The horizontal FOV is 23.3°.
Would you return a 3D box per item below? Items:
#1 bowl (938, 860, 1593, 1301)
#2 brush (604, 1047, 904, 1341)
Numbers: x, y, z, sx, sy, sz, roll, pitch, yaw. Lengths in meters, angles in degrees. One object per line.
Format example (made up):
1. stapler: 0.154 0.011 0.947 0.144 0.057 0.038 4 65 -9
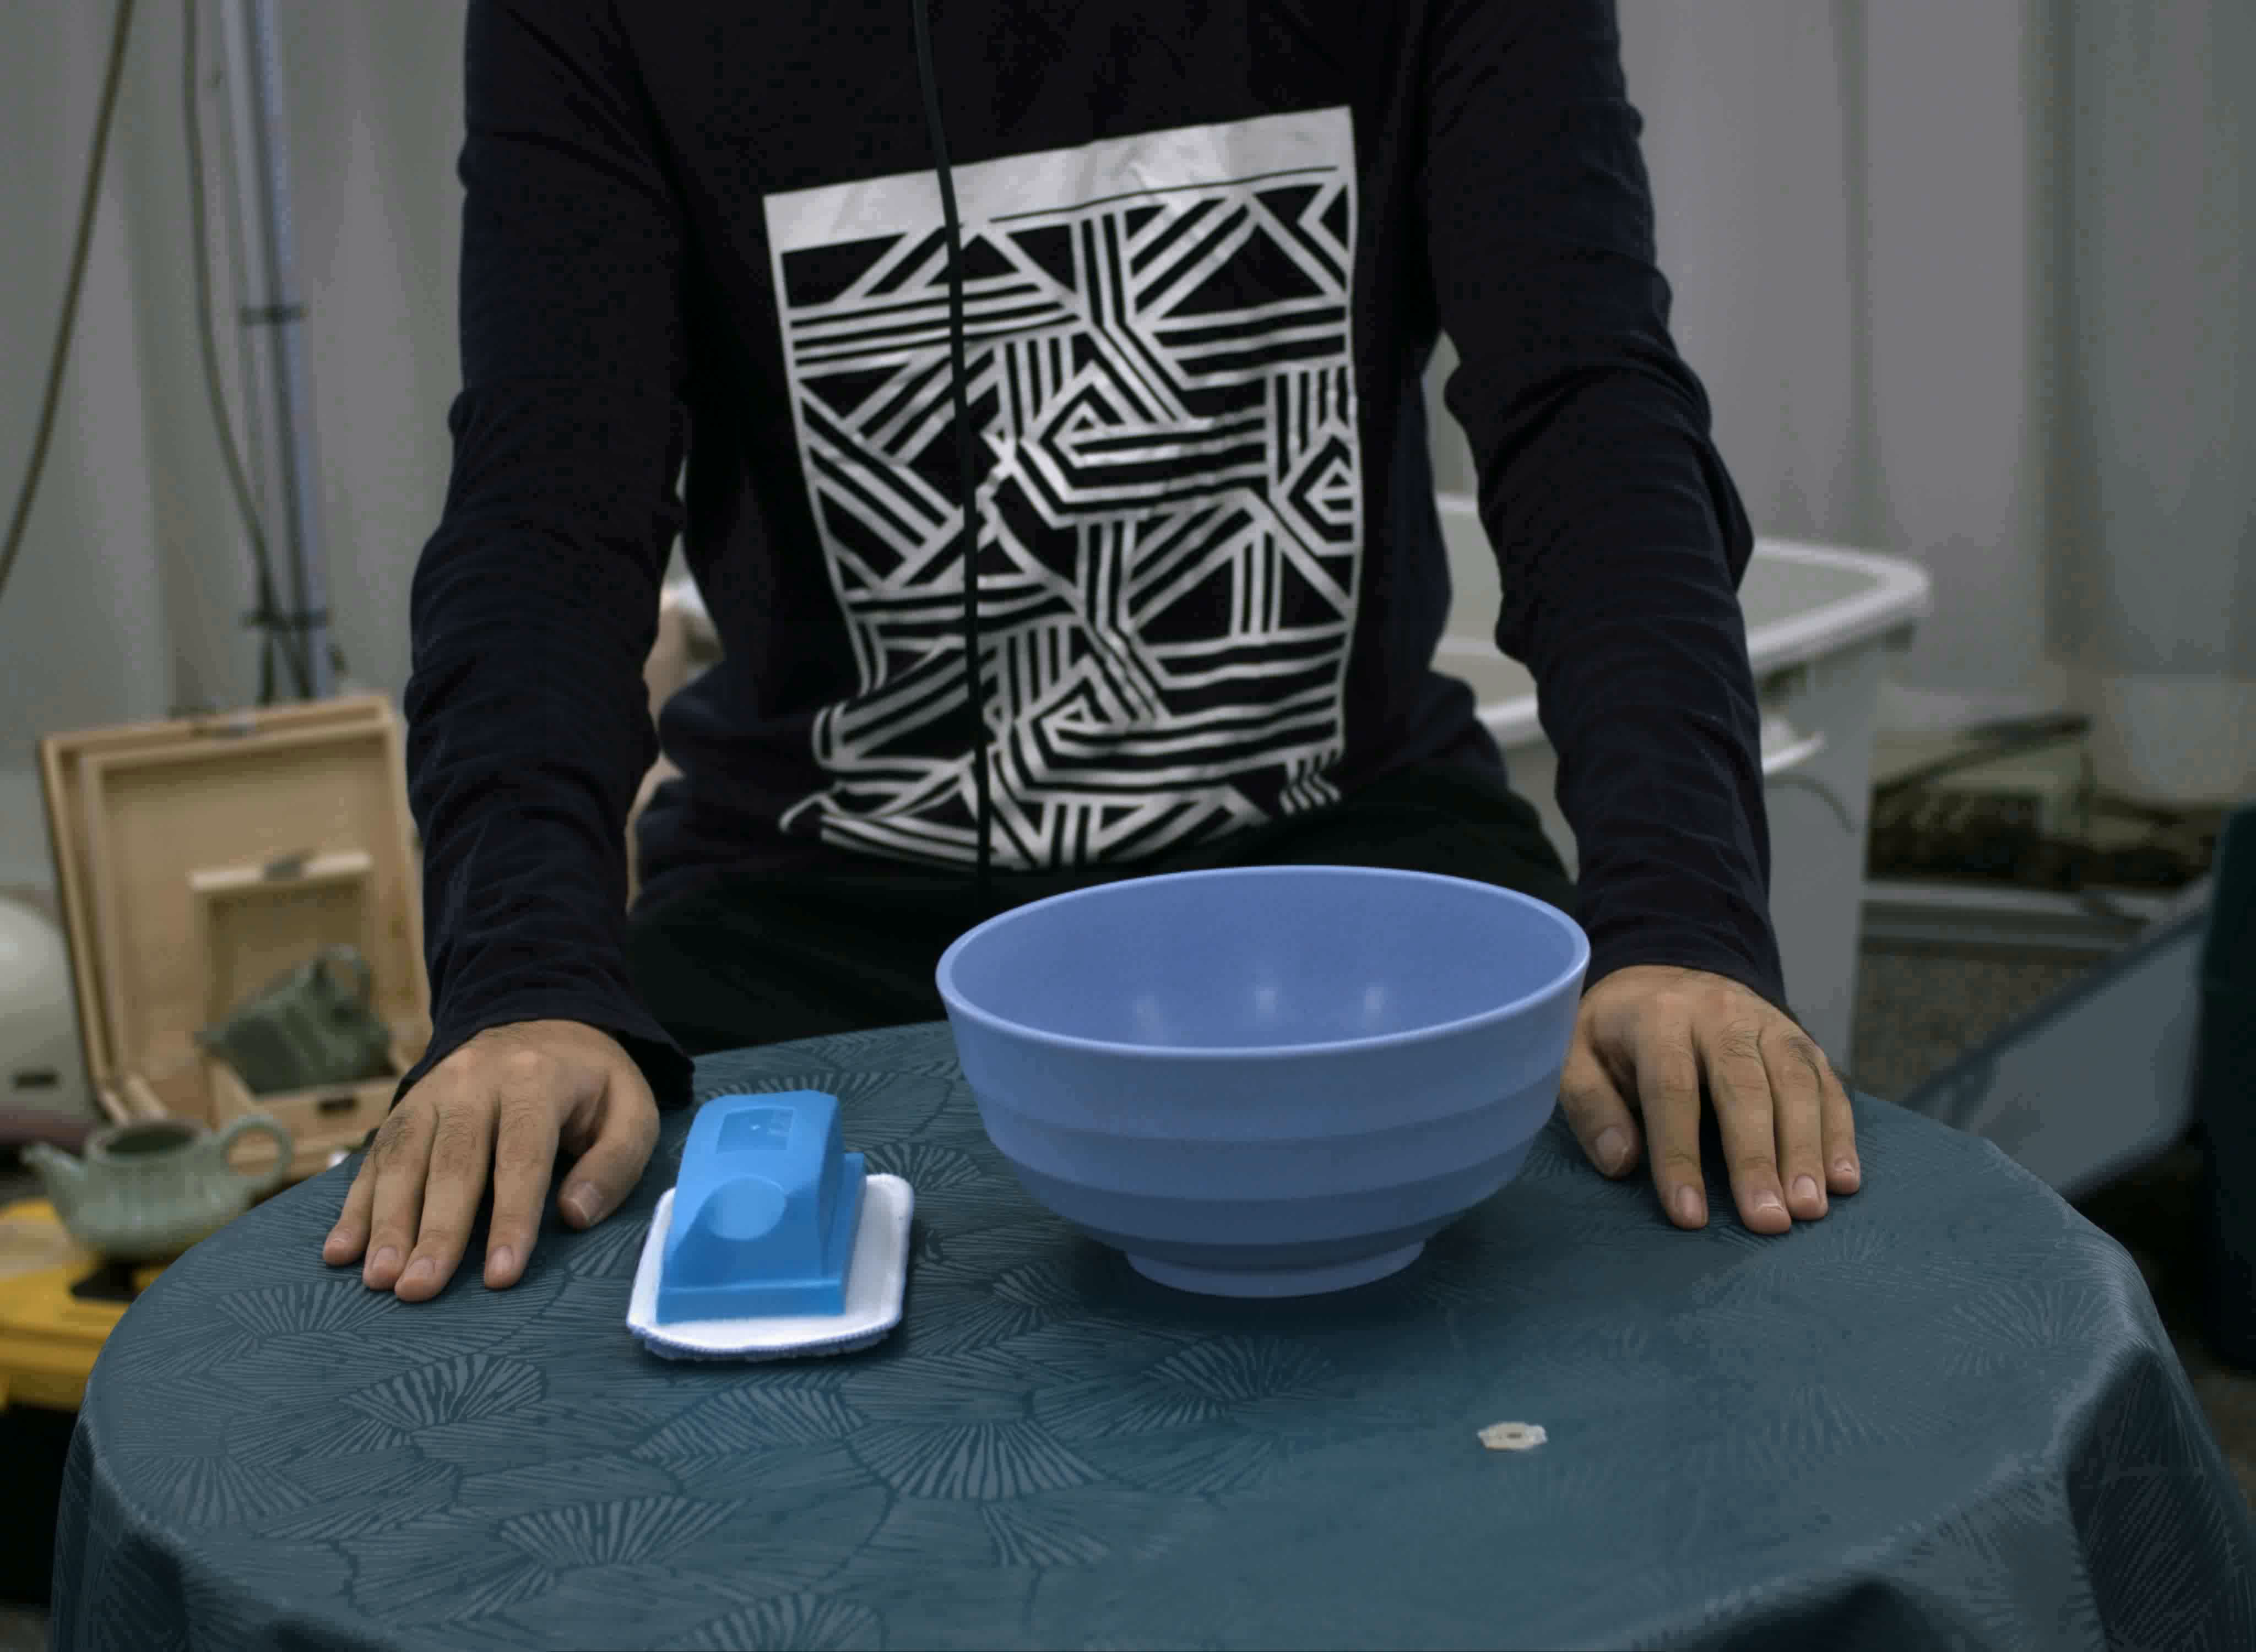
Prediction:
1. bowl: 0.043 0.083 1.646 0.196 0.095 0.198 -3 15 0
2. brush: -0.111 0.107 1.643 0.083 0.055 0.145 2 19 1
